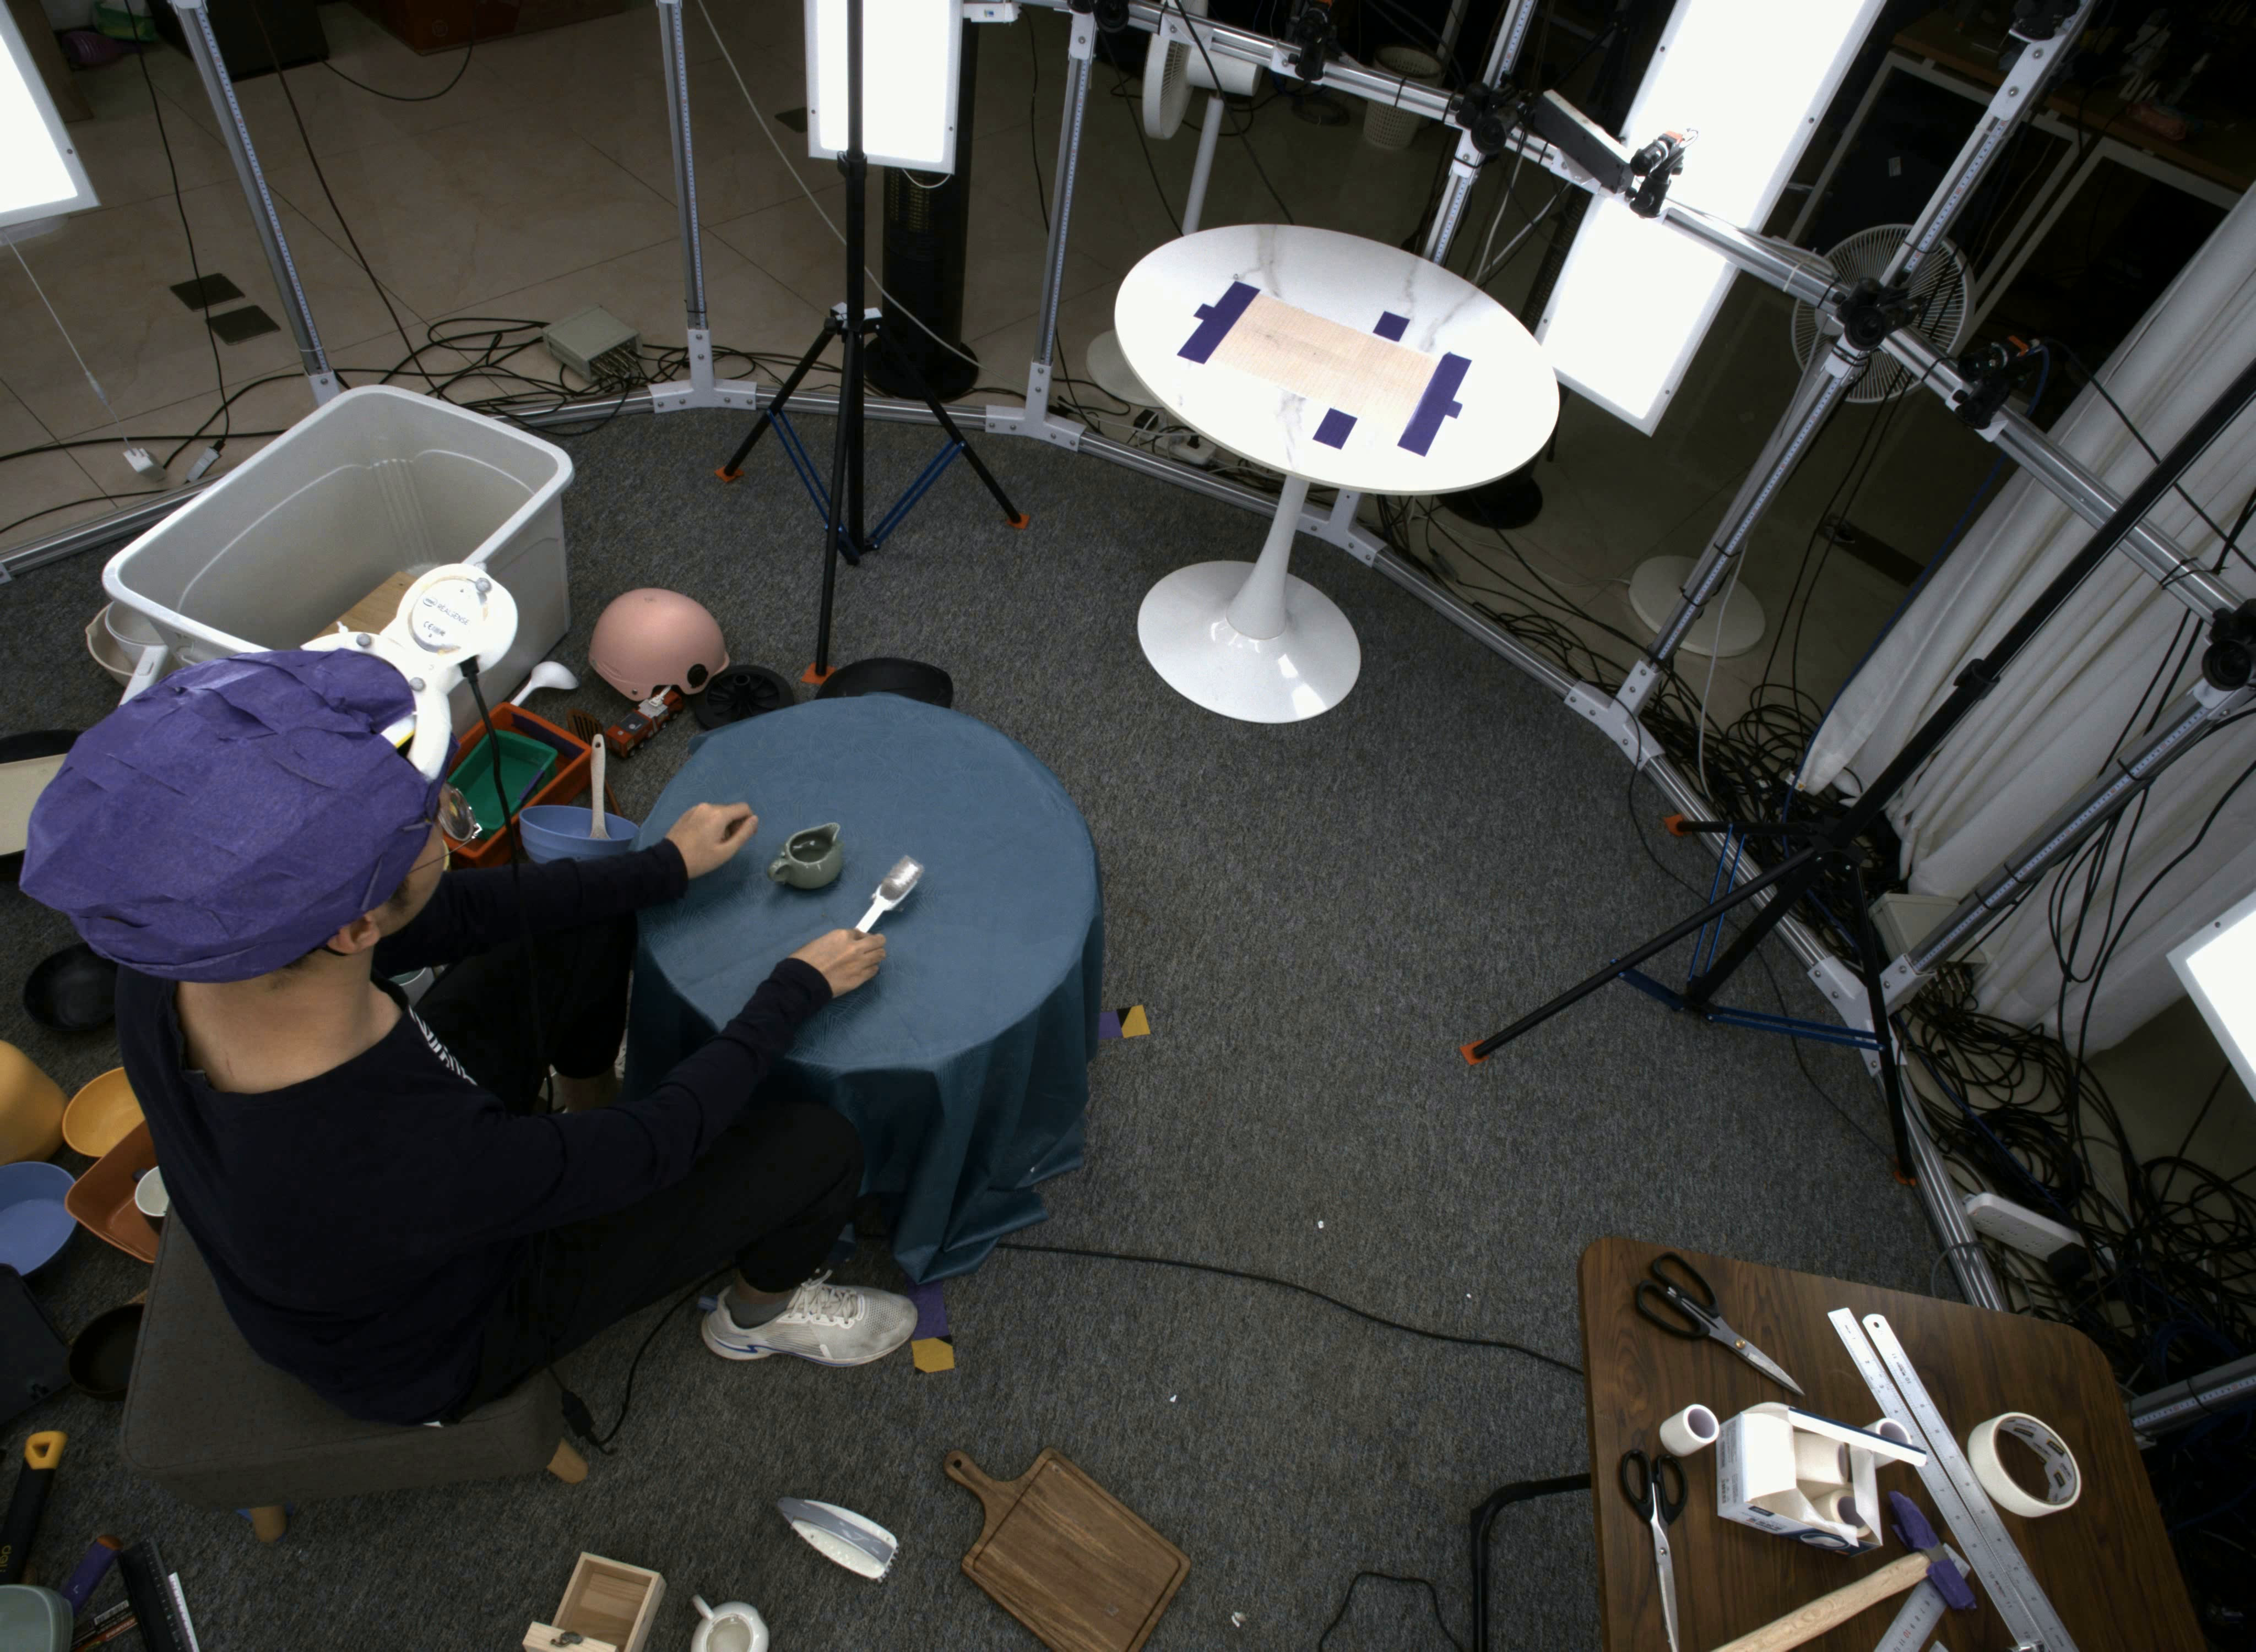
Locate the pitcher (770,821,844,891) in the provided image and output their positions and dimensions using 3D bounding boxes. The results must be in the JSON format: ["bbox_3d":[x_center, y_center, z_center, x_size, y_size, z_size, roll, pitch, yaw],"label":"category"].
[{"bbox_3d":[-0.412,0.042,1.661,0.082,0.057,0.112,35,55,16],"label":"pitcher"}]

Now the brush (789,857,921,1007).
[{"bbox_3d":[-0.340,0.126,1.622,0.034,0.051,0.243,36,53,3],"label":"brush"}]
